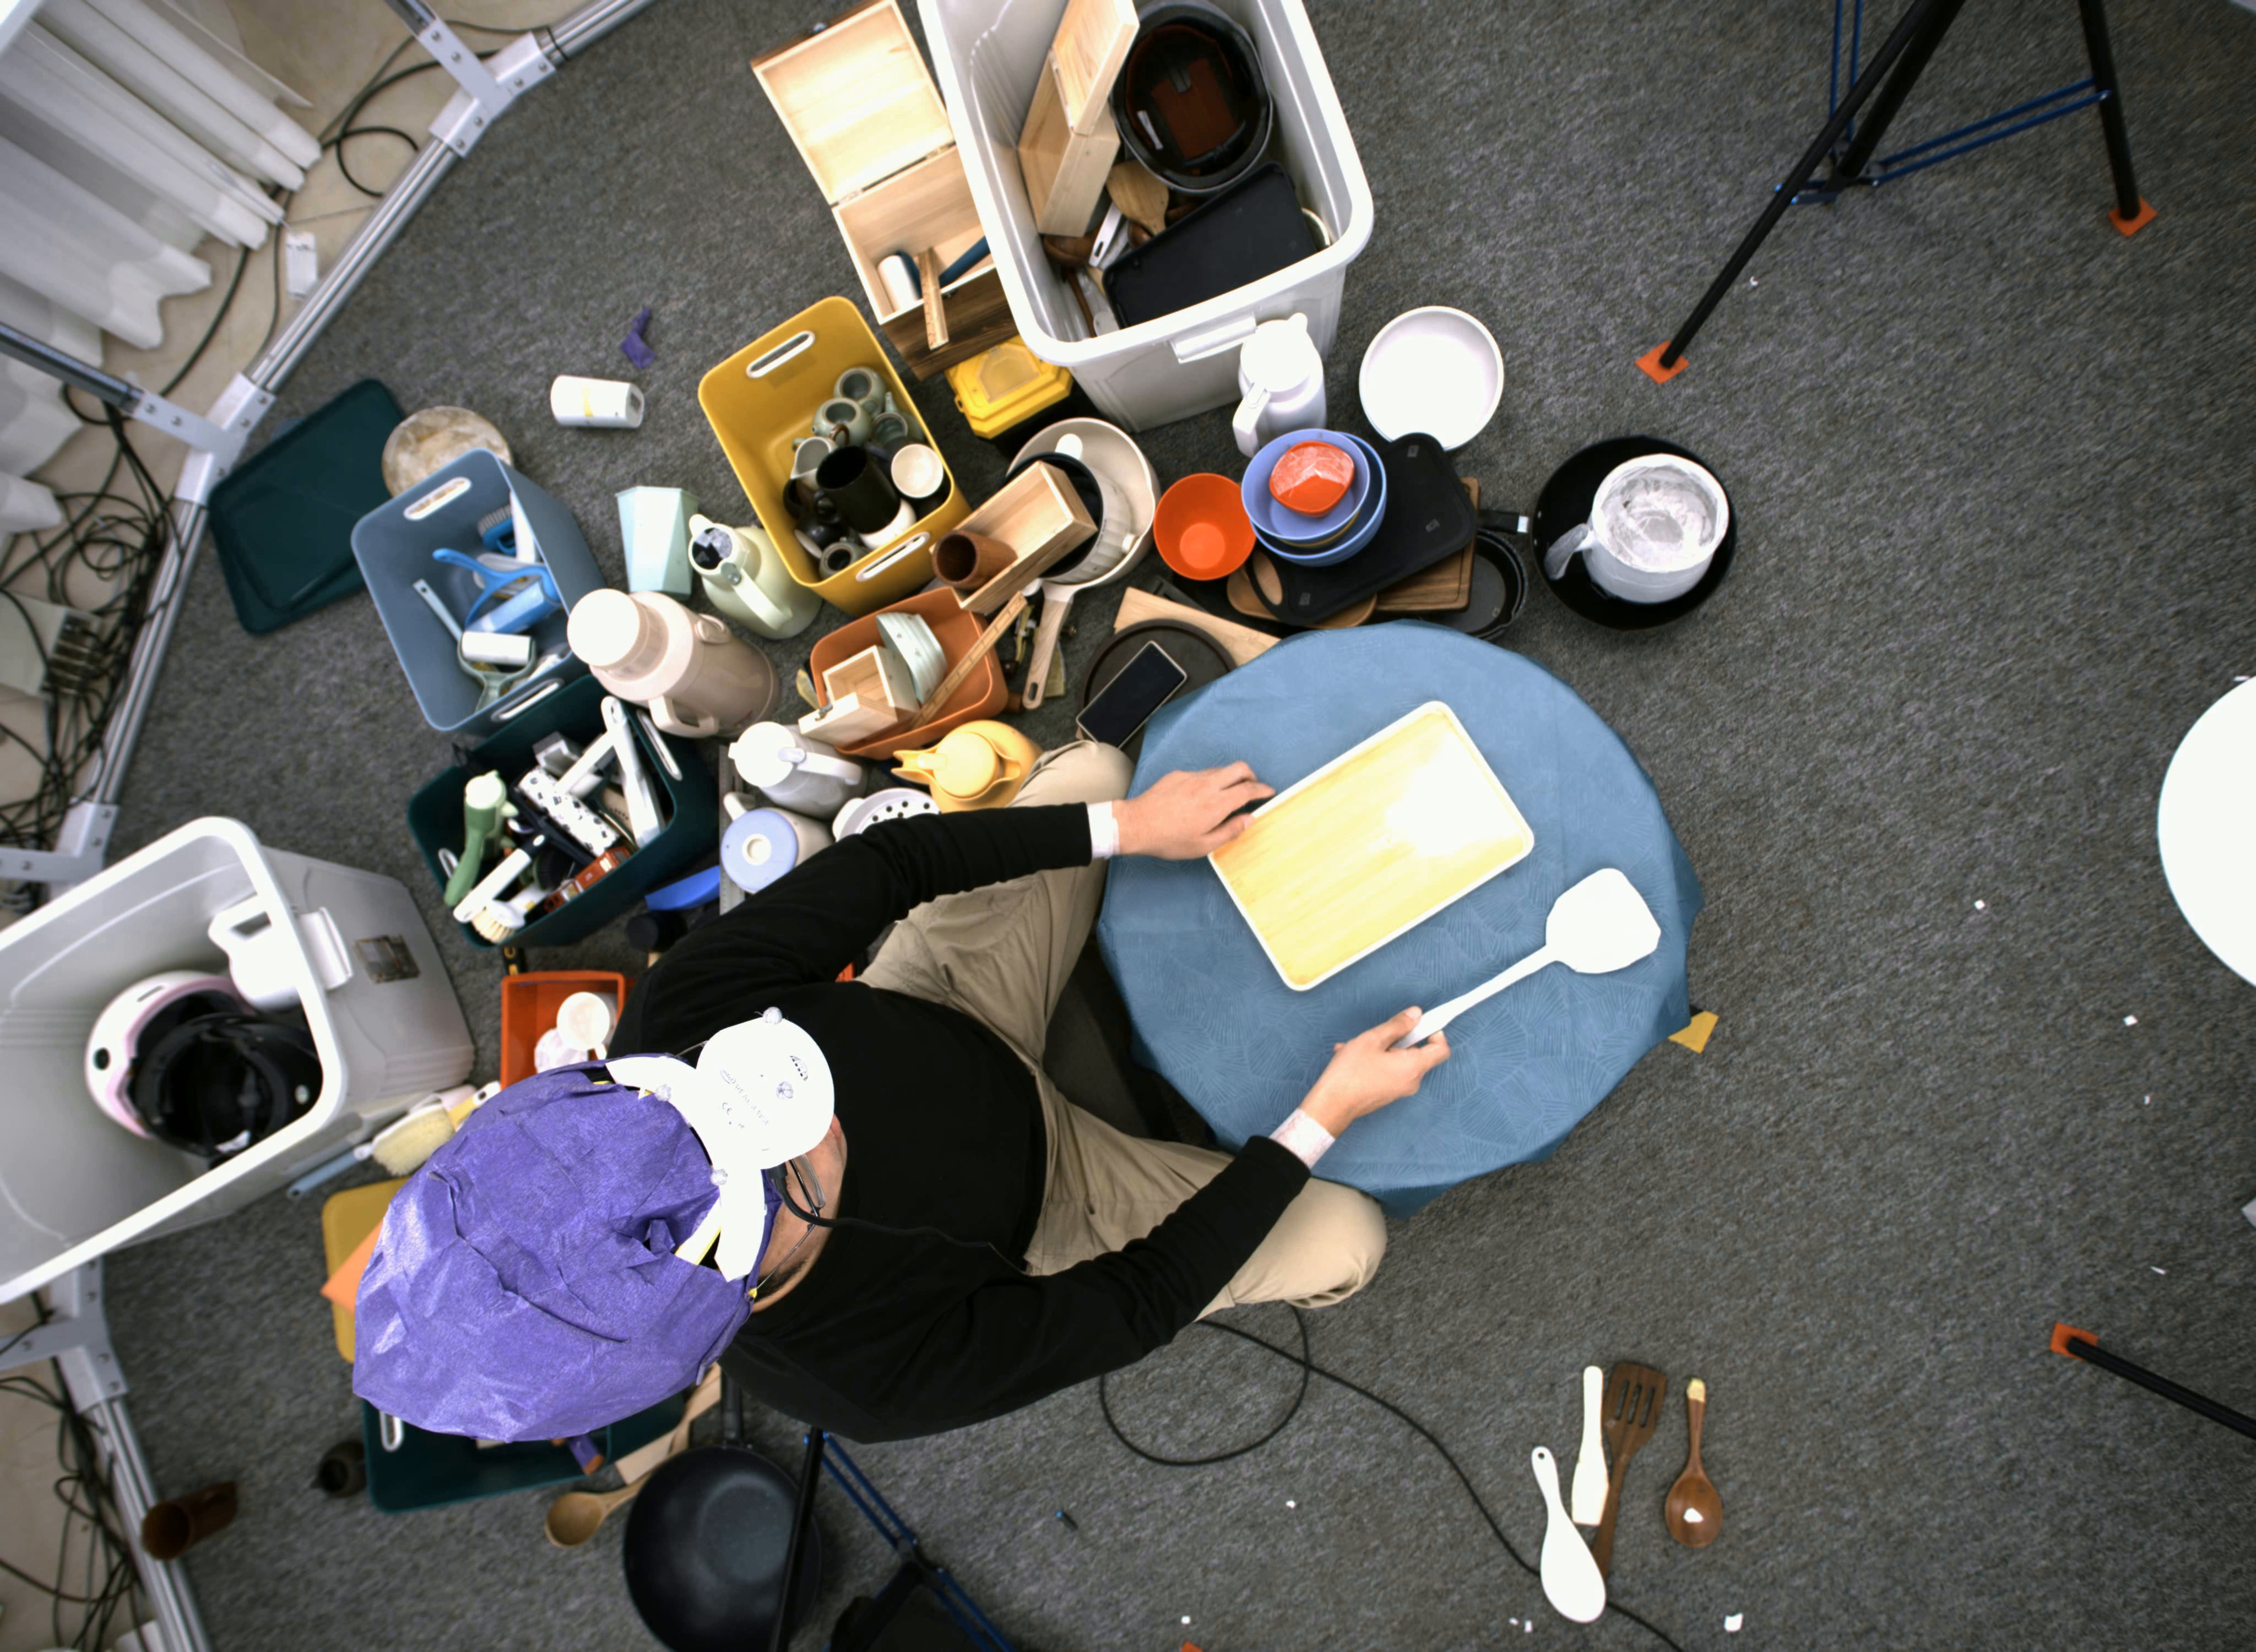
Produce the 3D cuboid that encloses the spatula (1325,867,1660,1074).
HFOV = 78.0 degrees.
[{"bbox_3d":[0.365,0.162,1.397,0.364,0.045,0.098,-29,81,-3],"label":"spatula"}]

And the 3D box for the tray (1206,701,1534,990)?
[{"bbox_3d":[0.252,0.020,1.453,0.302,0.027,0.190,-32,82,7],"label":"tray"}]
